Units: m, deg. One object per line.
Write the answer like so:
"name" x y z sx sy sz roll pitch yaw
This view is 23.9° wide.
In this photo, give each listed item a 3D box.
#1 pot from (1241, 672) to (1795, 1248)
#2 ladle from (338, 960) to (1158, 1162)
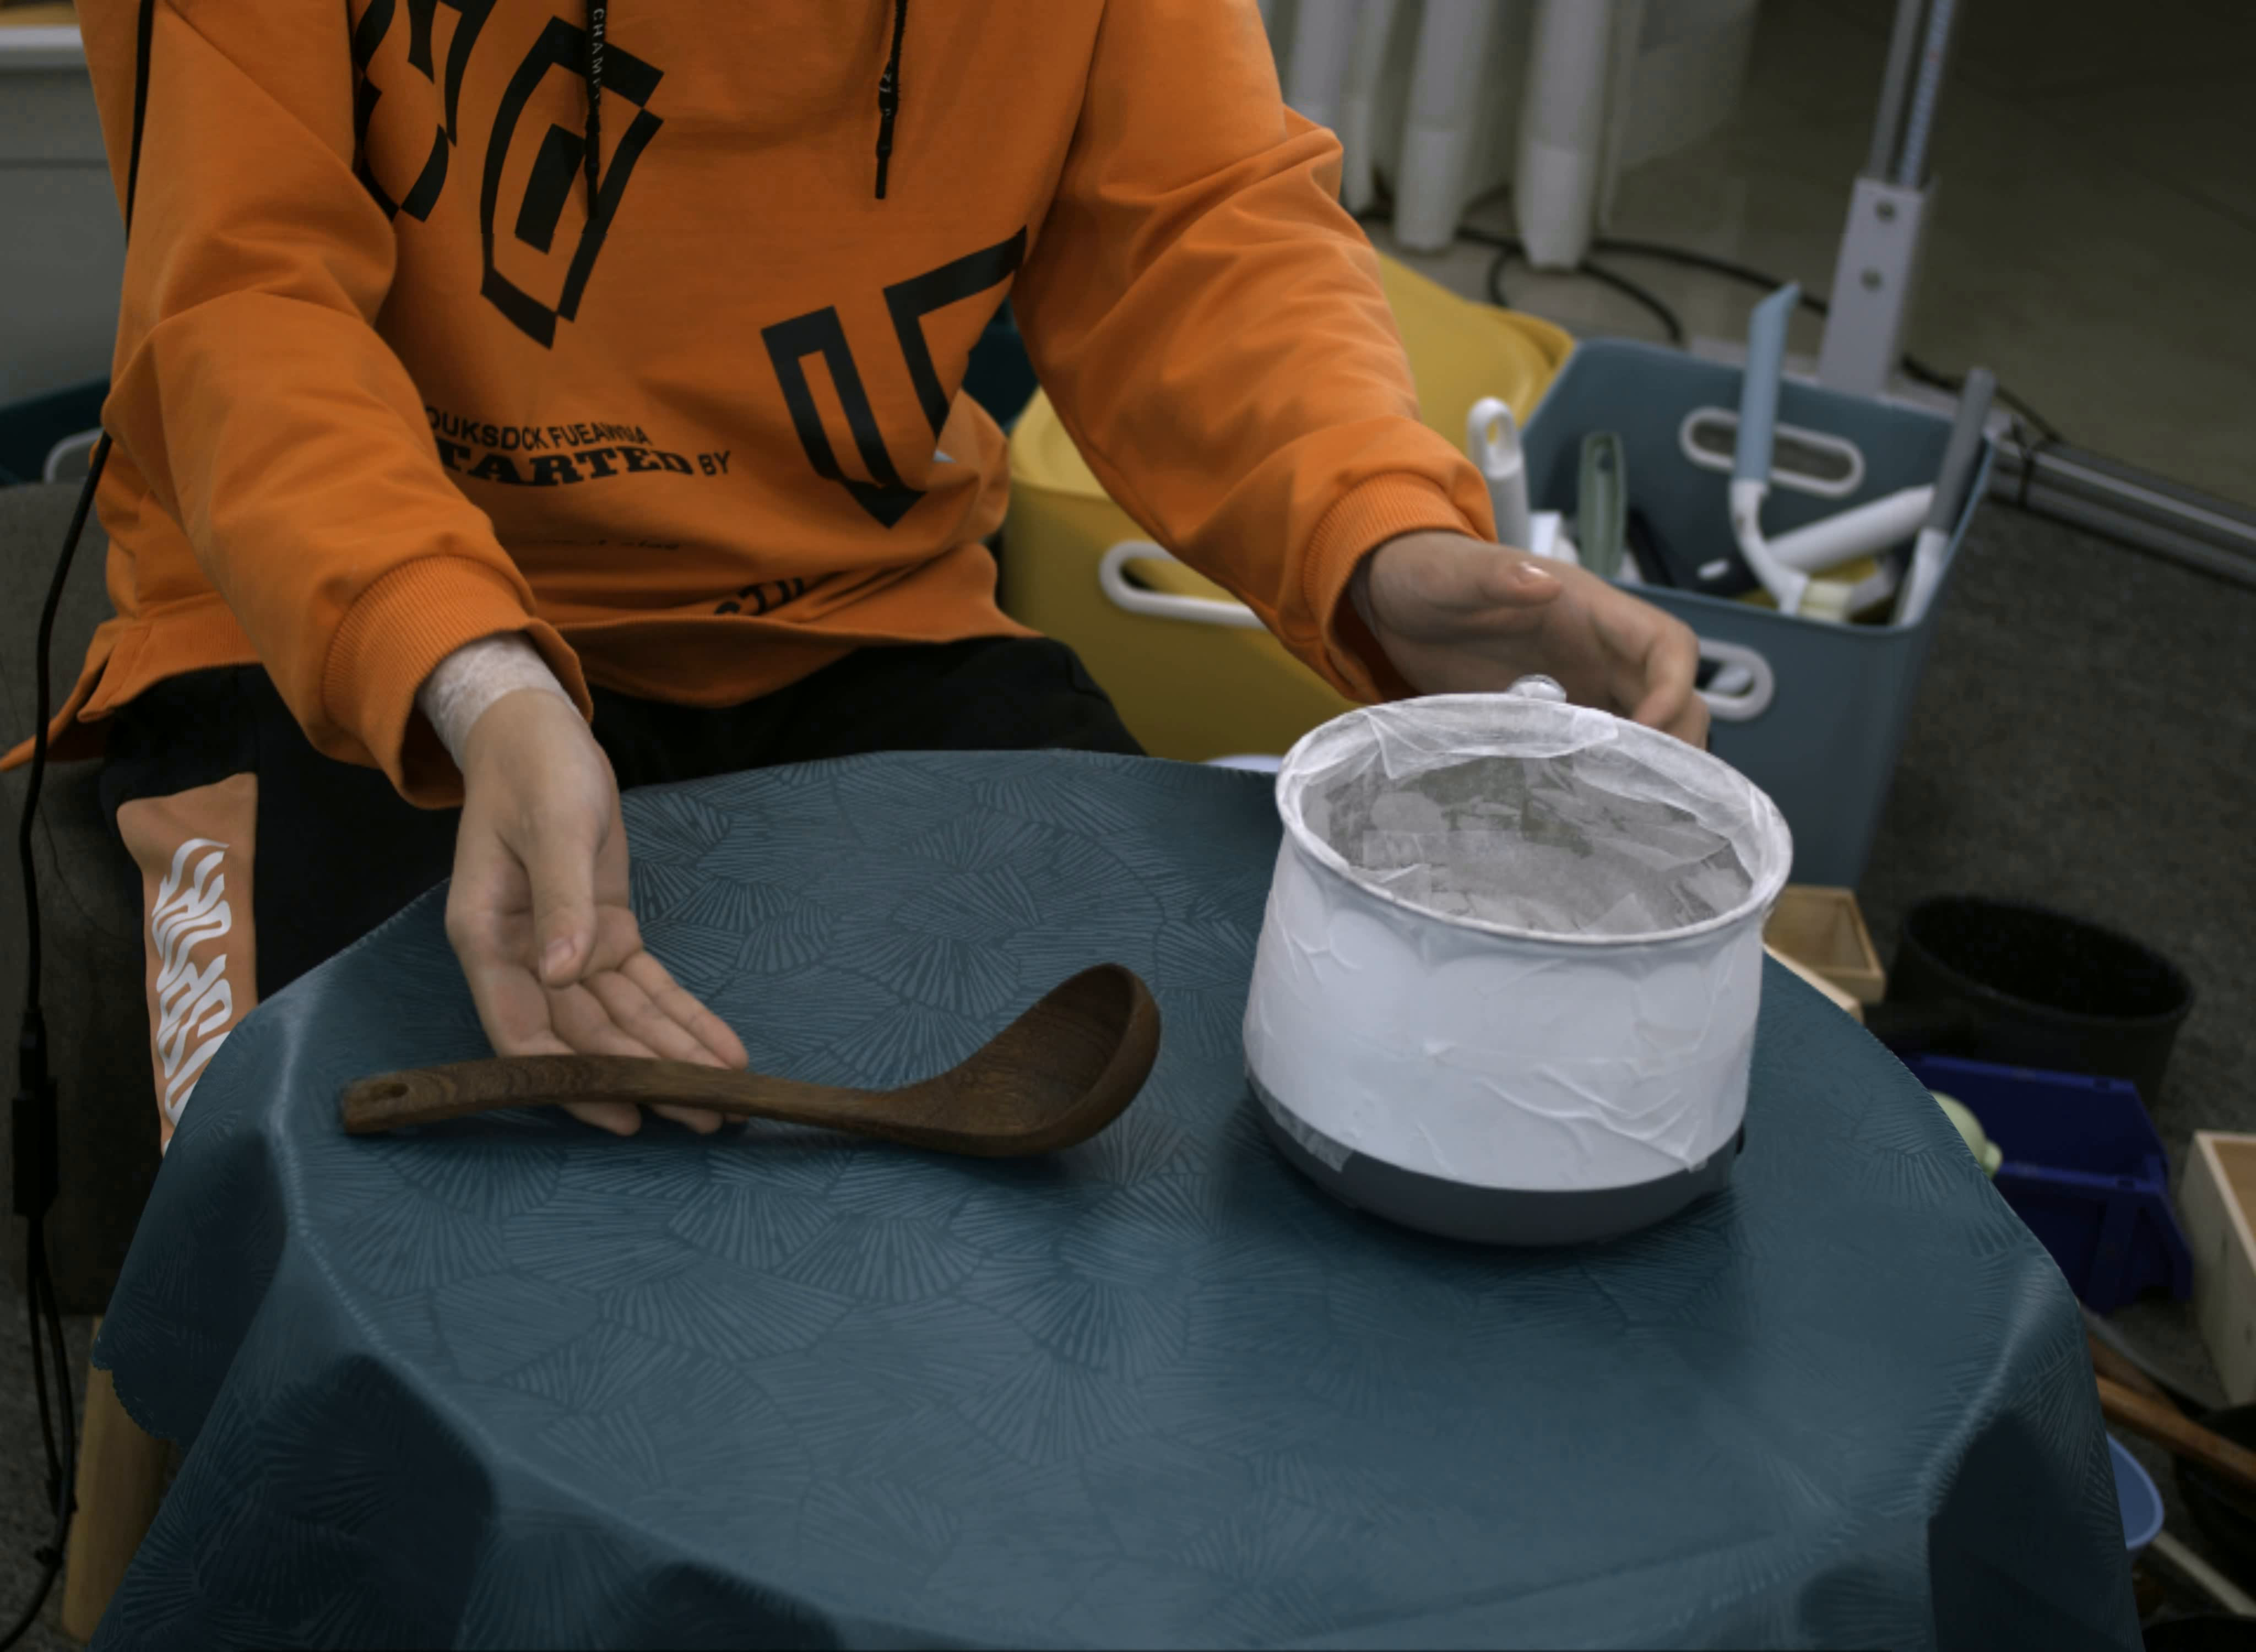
"pot" 0.132 0.038 1.847 0.178 0.136 0.235 7 27 0
"ladle" -0.127 0.074 1.792 0.273 0.071 0.076 3 25 -9
